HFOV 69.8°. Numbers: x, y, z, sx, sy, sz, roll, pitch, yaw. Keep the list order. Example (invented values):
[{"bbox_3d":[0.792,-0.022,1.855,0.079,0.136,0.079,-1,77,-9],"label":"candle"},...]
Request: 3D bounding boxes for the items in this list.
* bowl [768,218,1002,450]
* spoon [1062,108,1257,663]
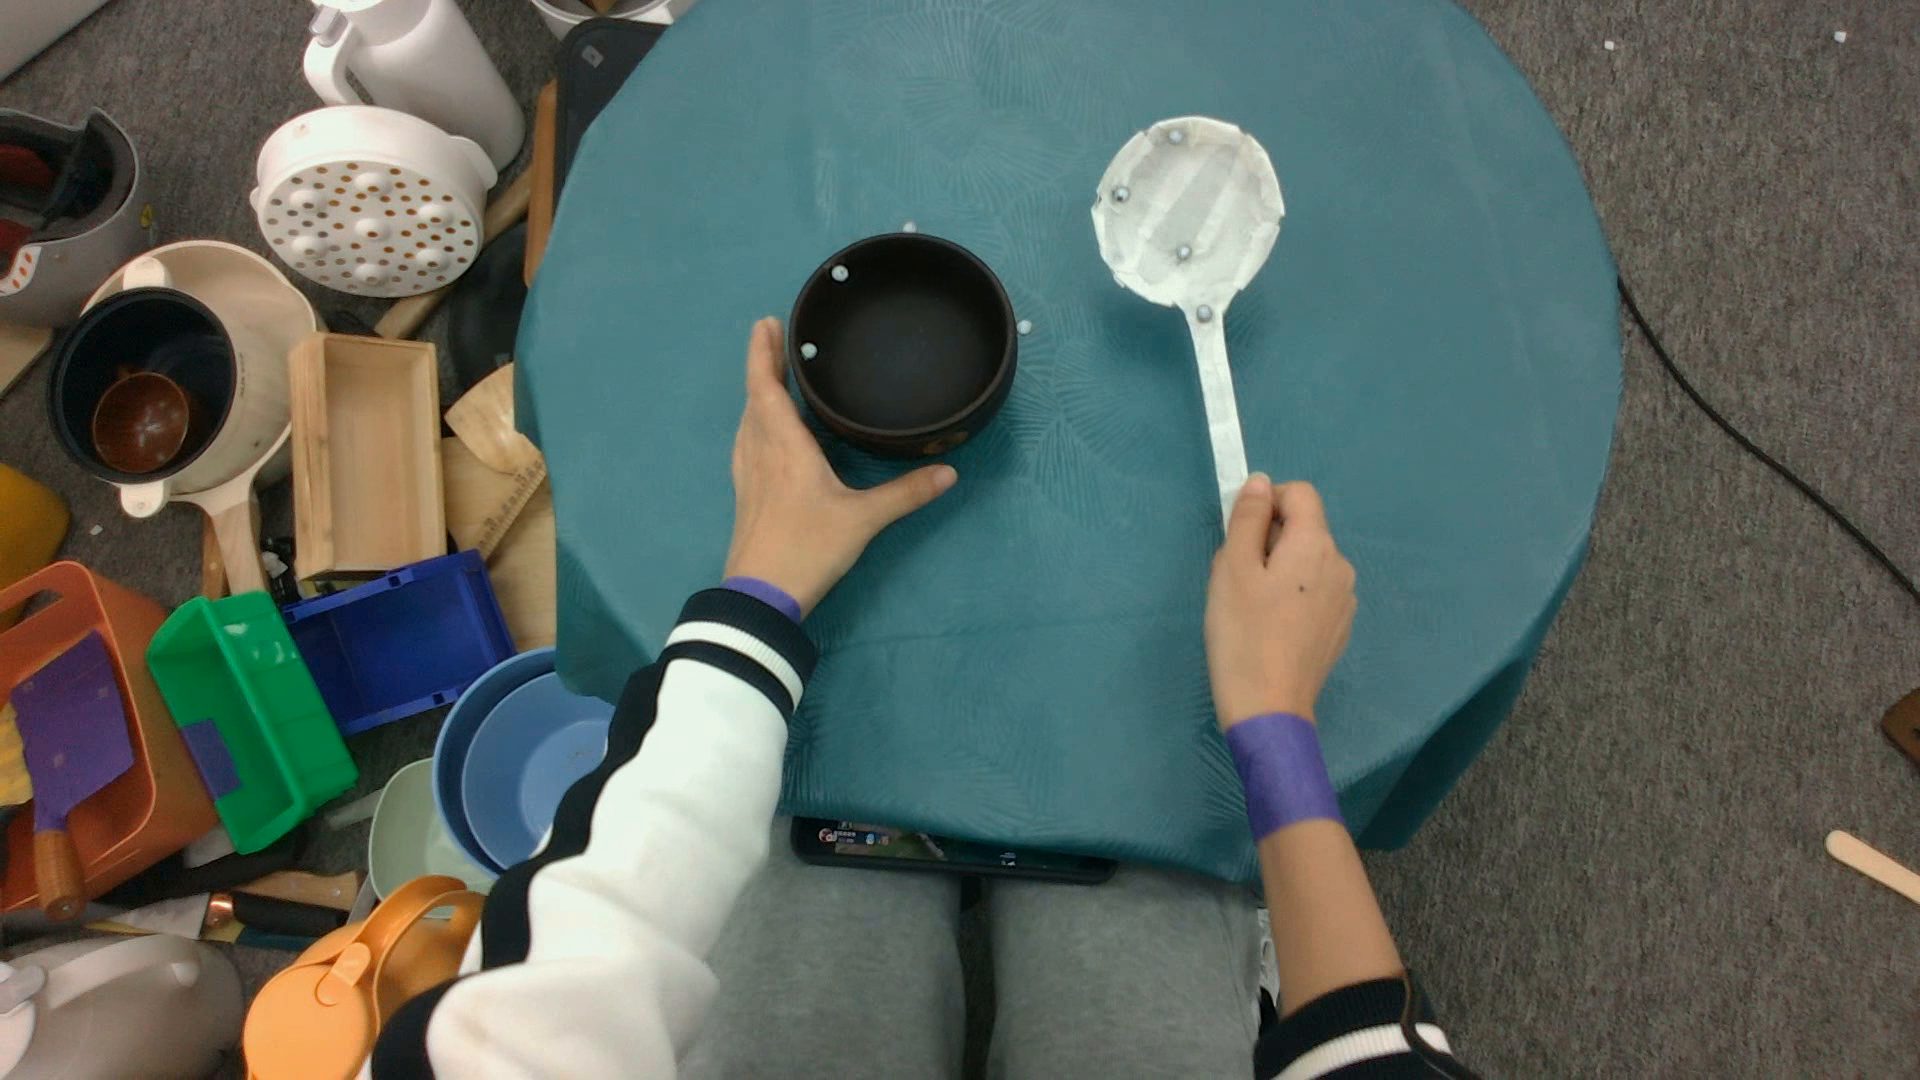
[{"bbox_3d":[-0.037,-0.101,0.719,0.118,0.069,0.118,-1,73,2],"label":"bowl"},{"bbox_3d":[0.107,-0.079,0.675,0.100,0.059,0.278,-9,69,16],"label":"spoon"}]
